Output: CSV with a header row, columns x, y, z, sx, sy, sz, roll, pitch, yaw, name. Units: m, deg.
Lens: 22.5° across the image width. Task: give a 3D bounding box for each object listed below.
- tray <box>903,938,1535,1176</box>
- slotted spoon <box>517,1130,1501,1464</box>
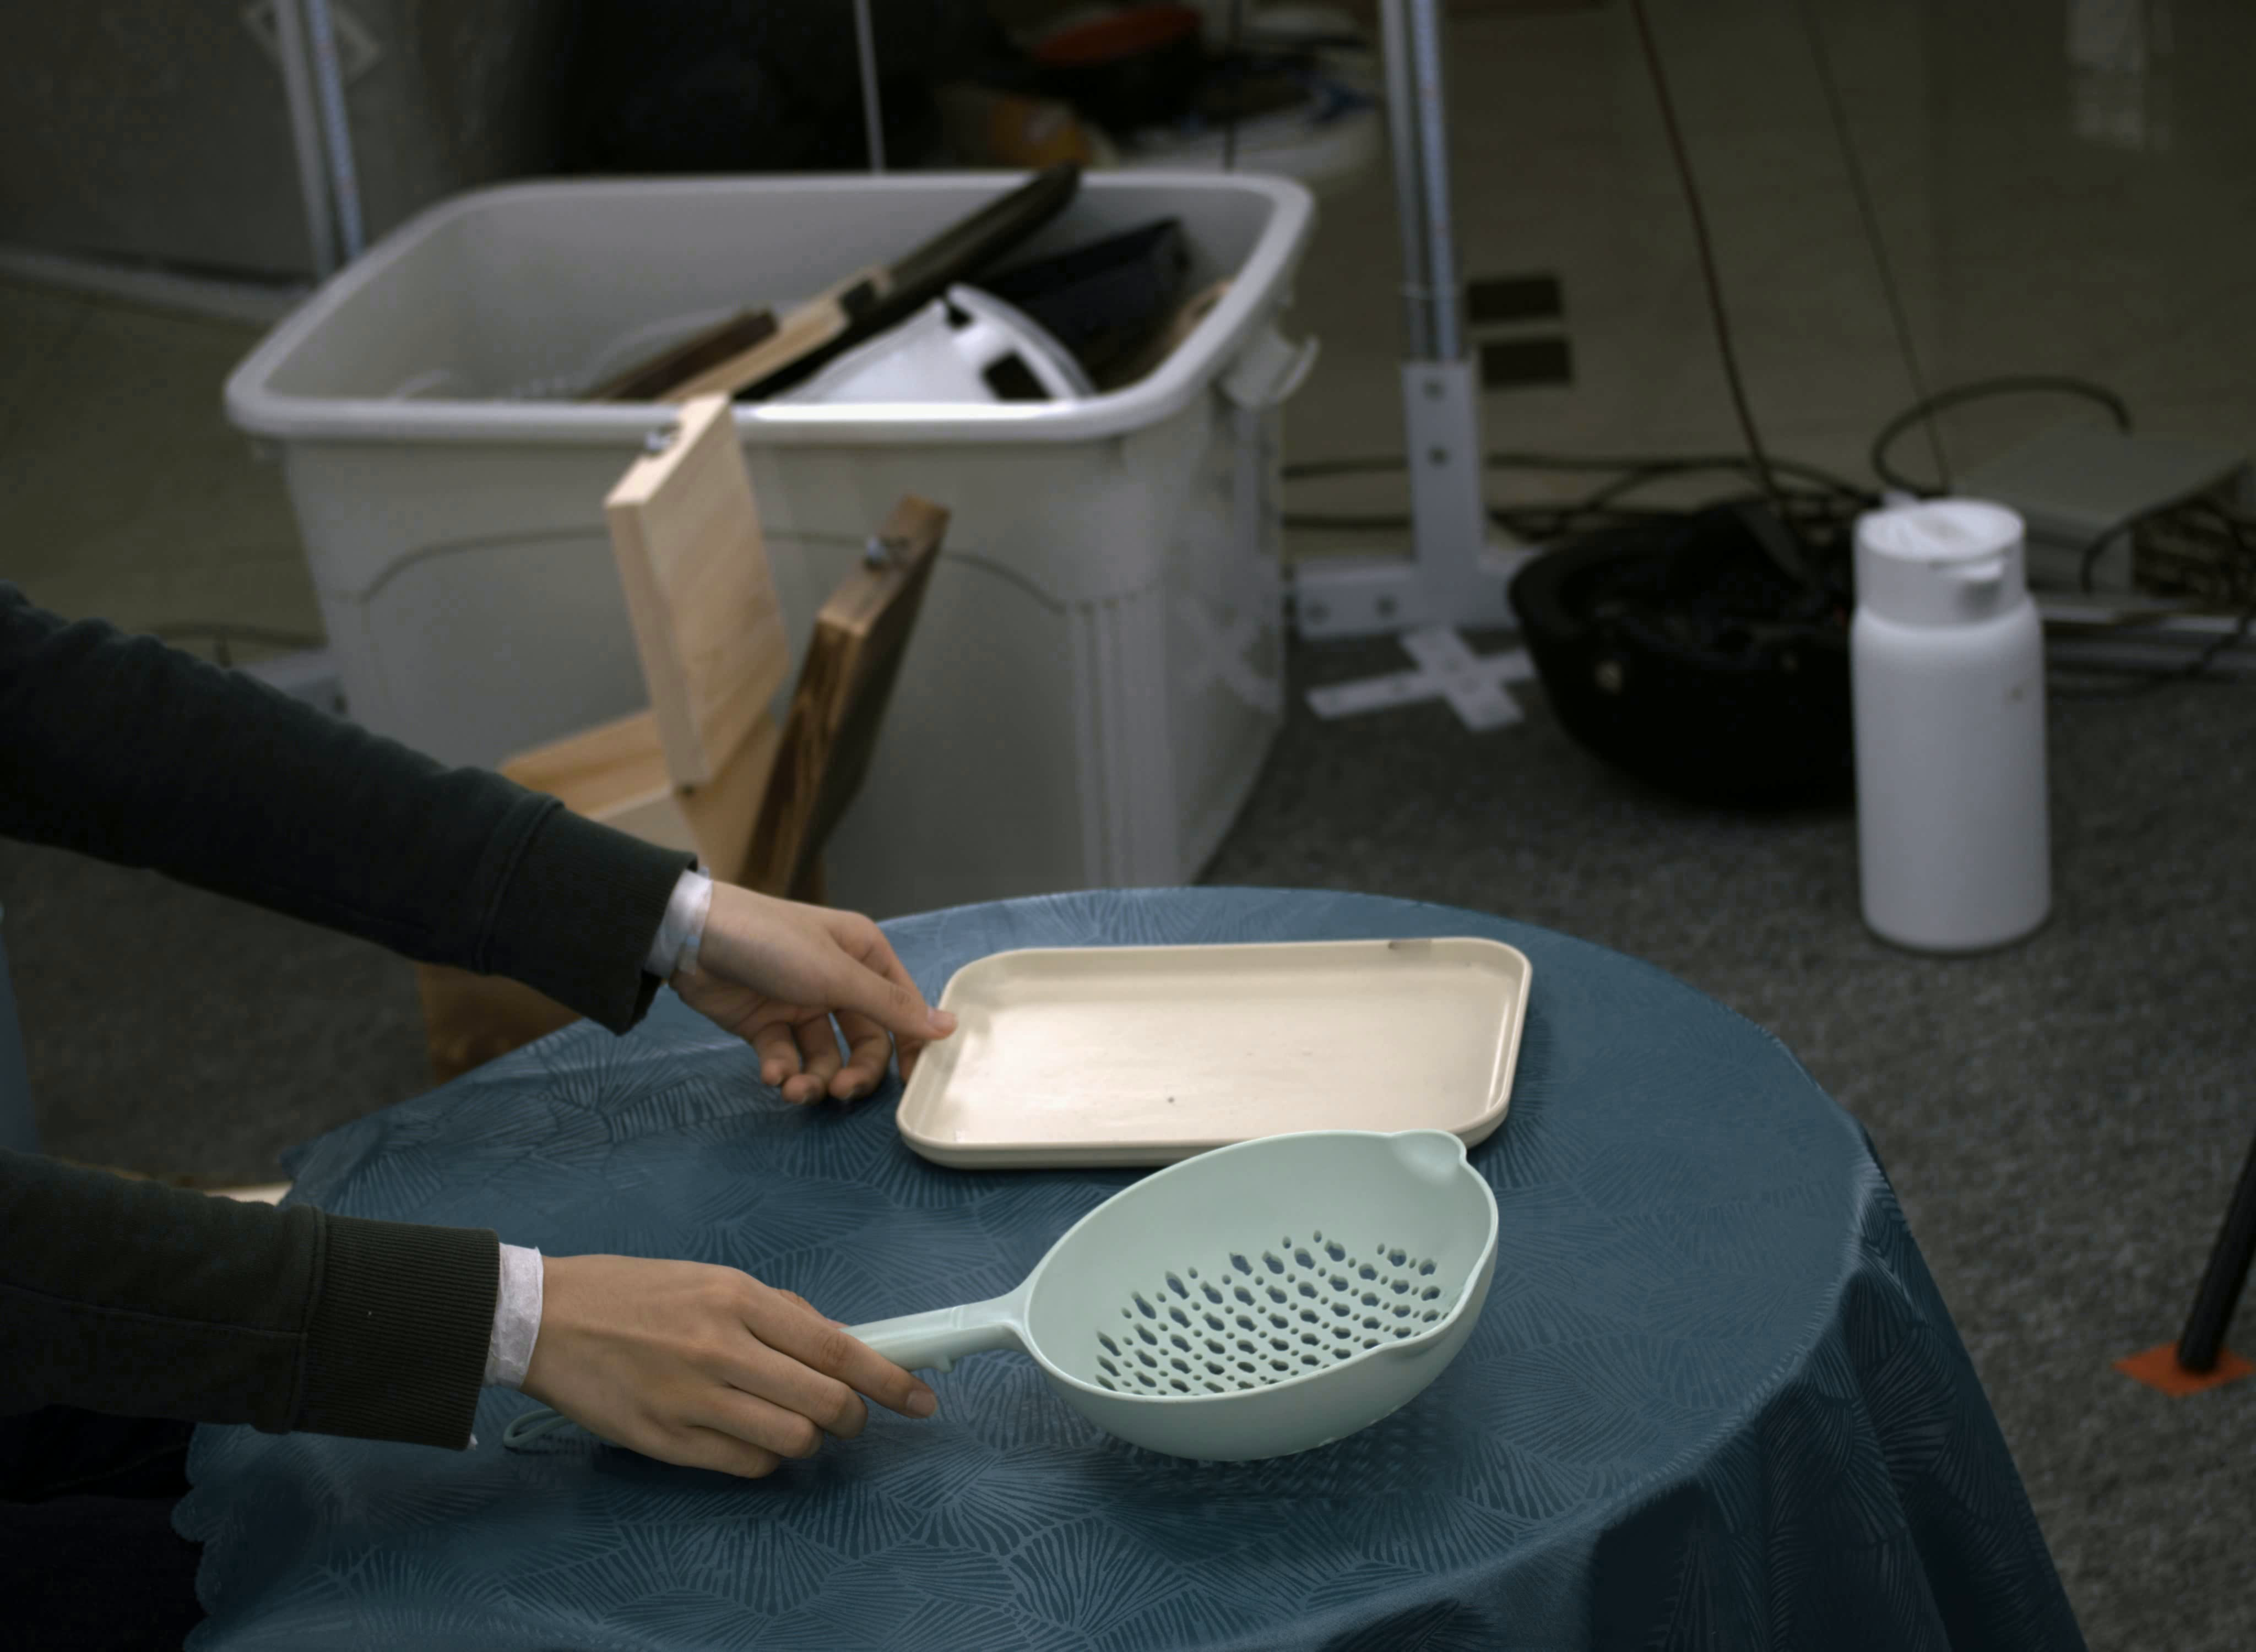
x,y,z,sx,sy,sz,roll,pitch,yaw,name
0.038,0.092,2.226,0.239,0.018,0.169,-3,25,10,tray
-0.045,0.181,1.997,0.358,0.076,0.167,-4,27,6,slotted spoon
